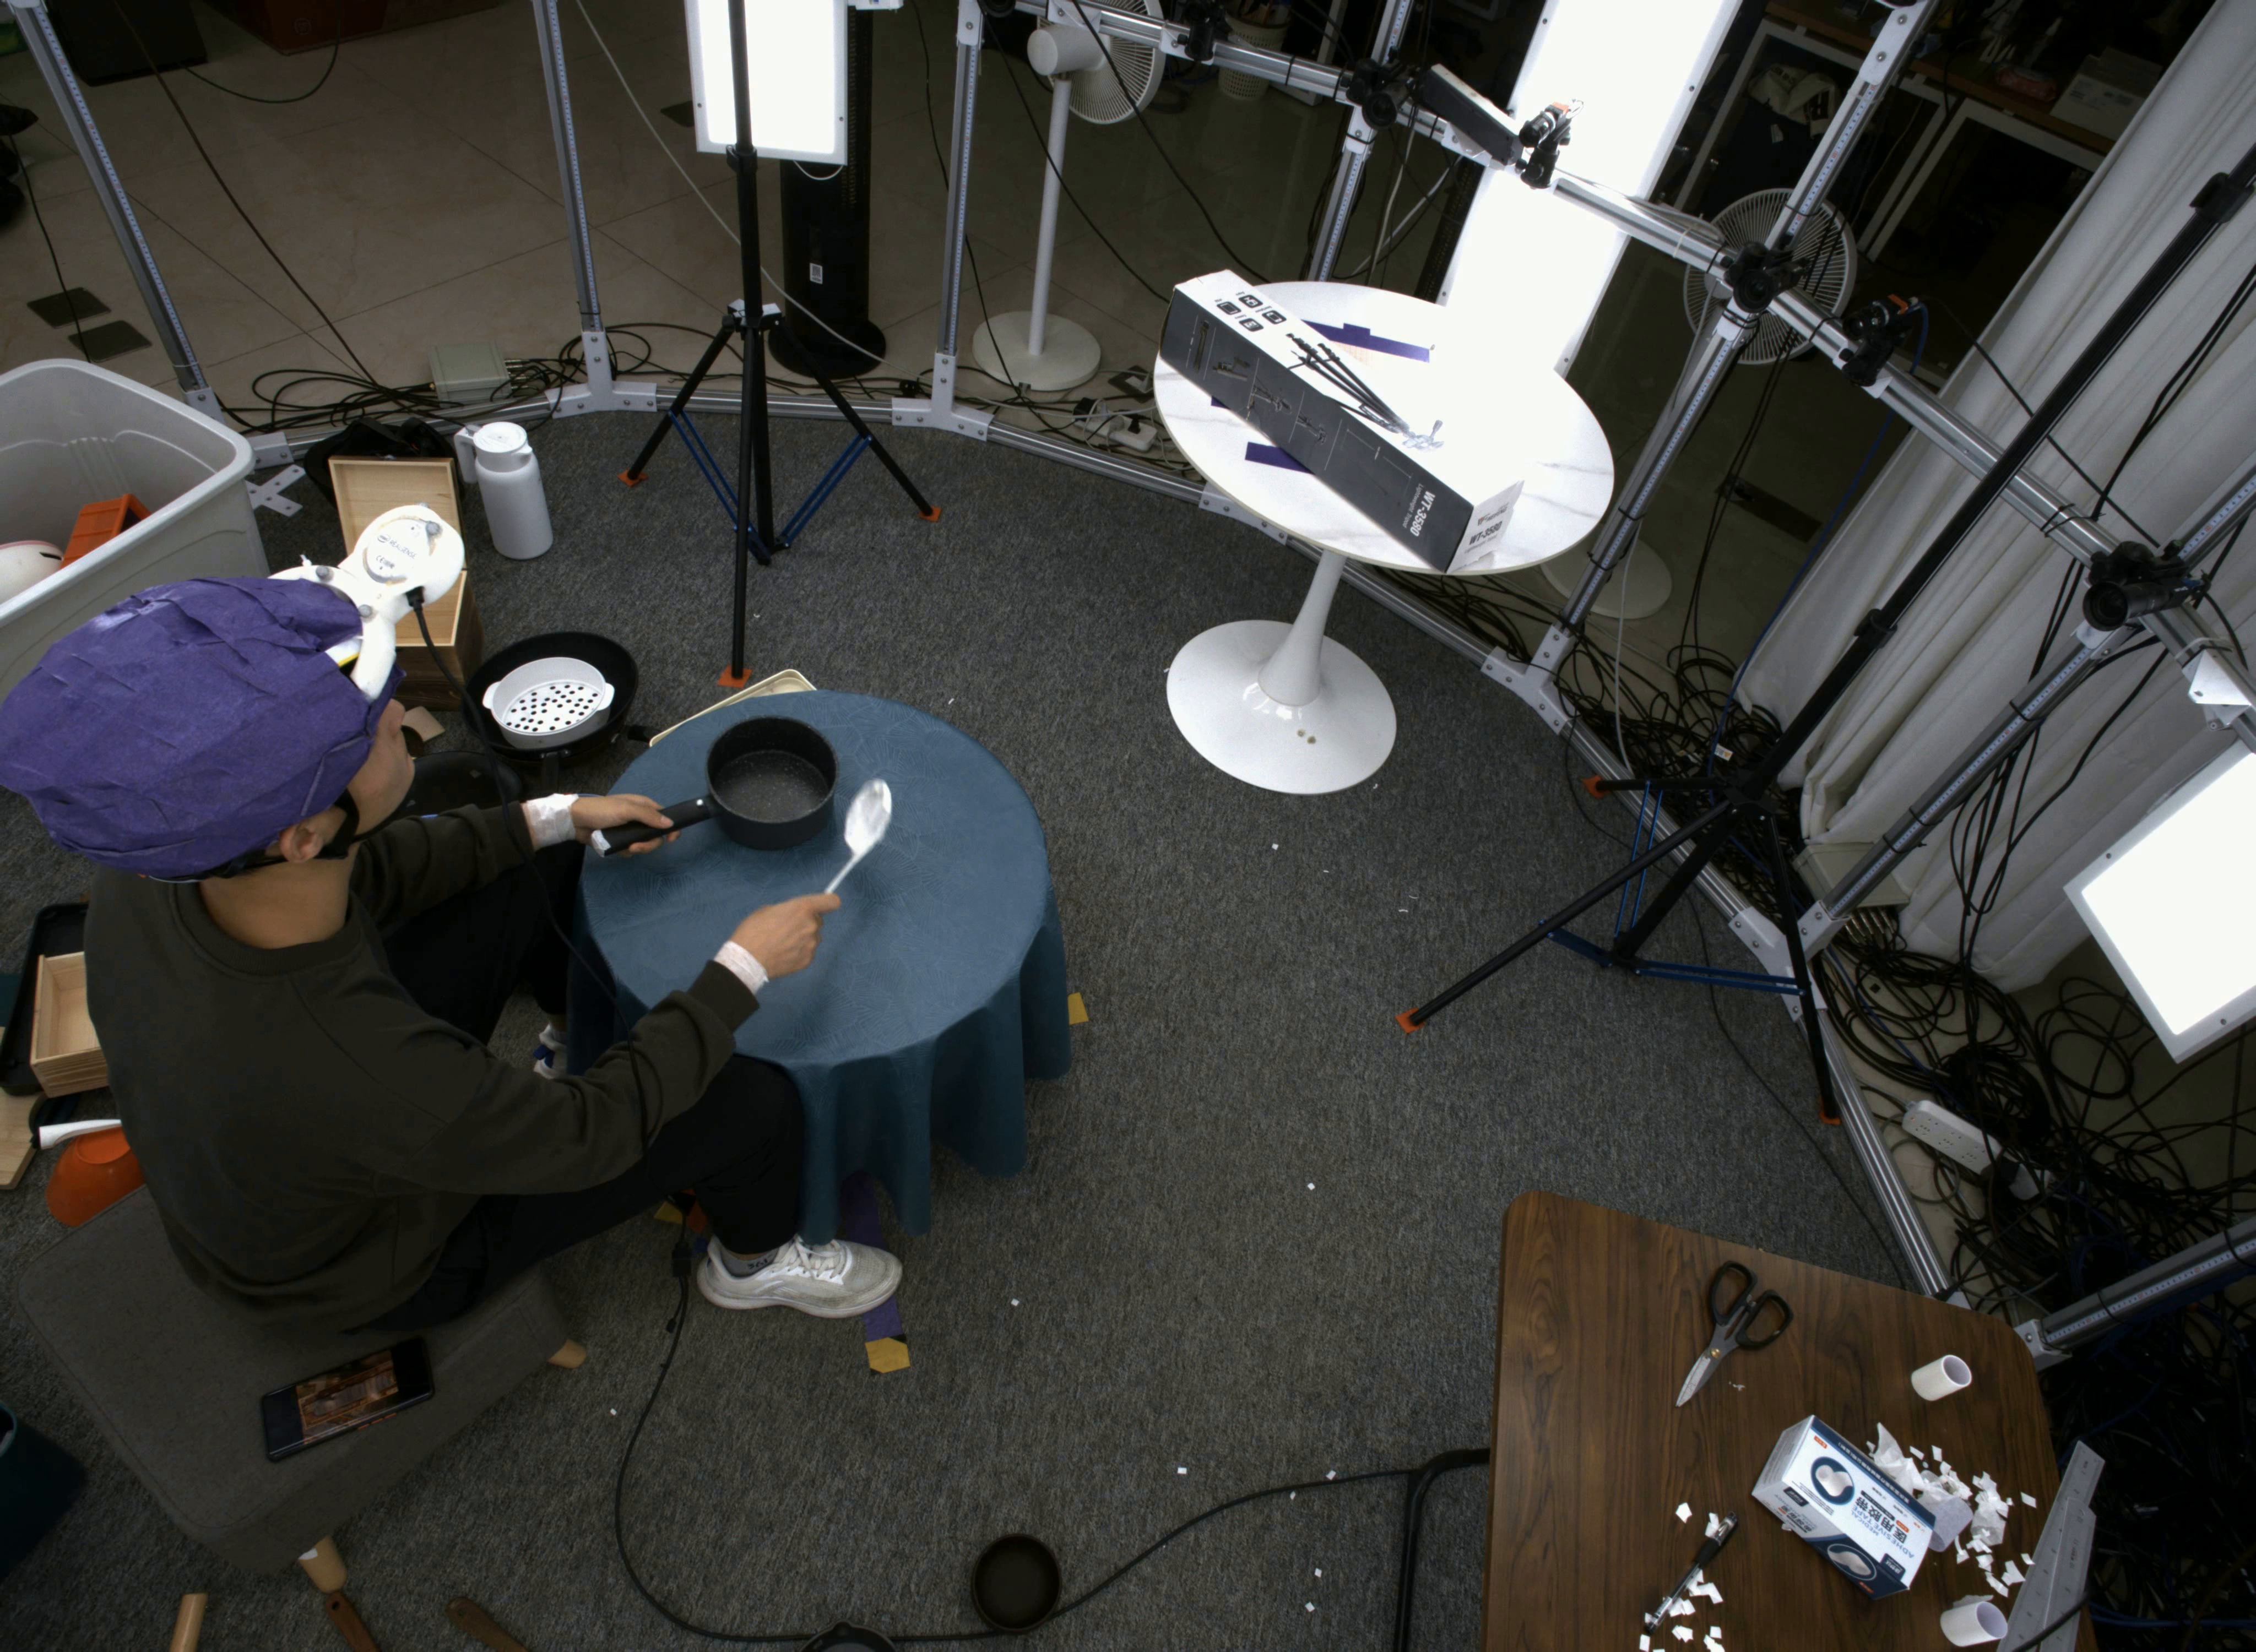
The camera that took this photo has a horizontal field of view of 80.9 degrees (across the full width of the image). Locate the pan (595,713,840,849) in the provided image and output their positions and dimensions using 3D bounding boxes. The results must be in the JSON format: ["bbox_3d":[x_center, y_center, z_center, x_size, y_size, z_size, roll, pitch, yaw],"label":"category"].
[{"bbox_3d":[-0.529,-0.029,1.667,0.330,0.088,0.168,-26,67,-31],"label":"pan"}]

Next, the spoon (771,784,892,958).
[{"bbox_3d":[-0.372,0.050,1.586,0.061,0.099,0.276,50,44,-15],"label":"spoon"}]
